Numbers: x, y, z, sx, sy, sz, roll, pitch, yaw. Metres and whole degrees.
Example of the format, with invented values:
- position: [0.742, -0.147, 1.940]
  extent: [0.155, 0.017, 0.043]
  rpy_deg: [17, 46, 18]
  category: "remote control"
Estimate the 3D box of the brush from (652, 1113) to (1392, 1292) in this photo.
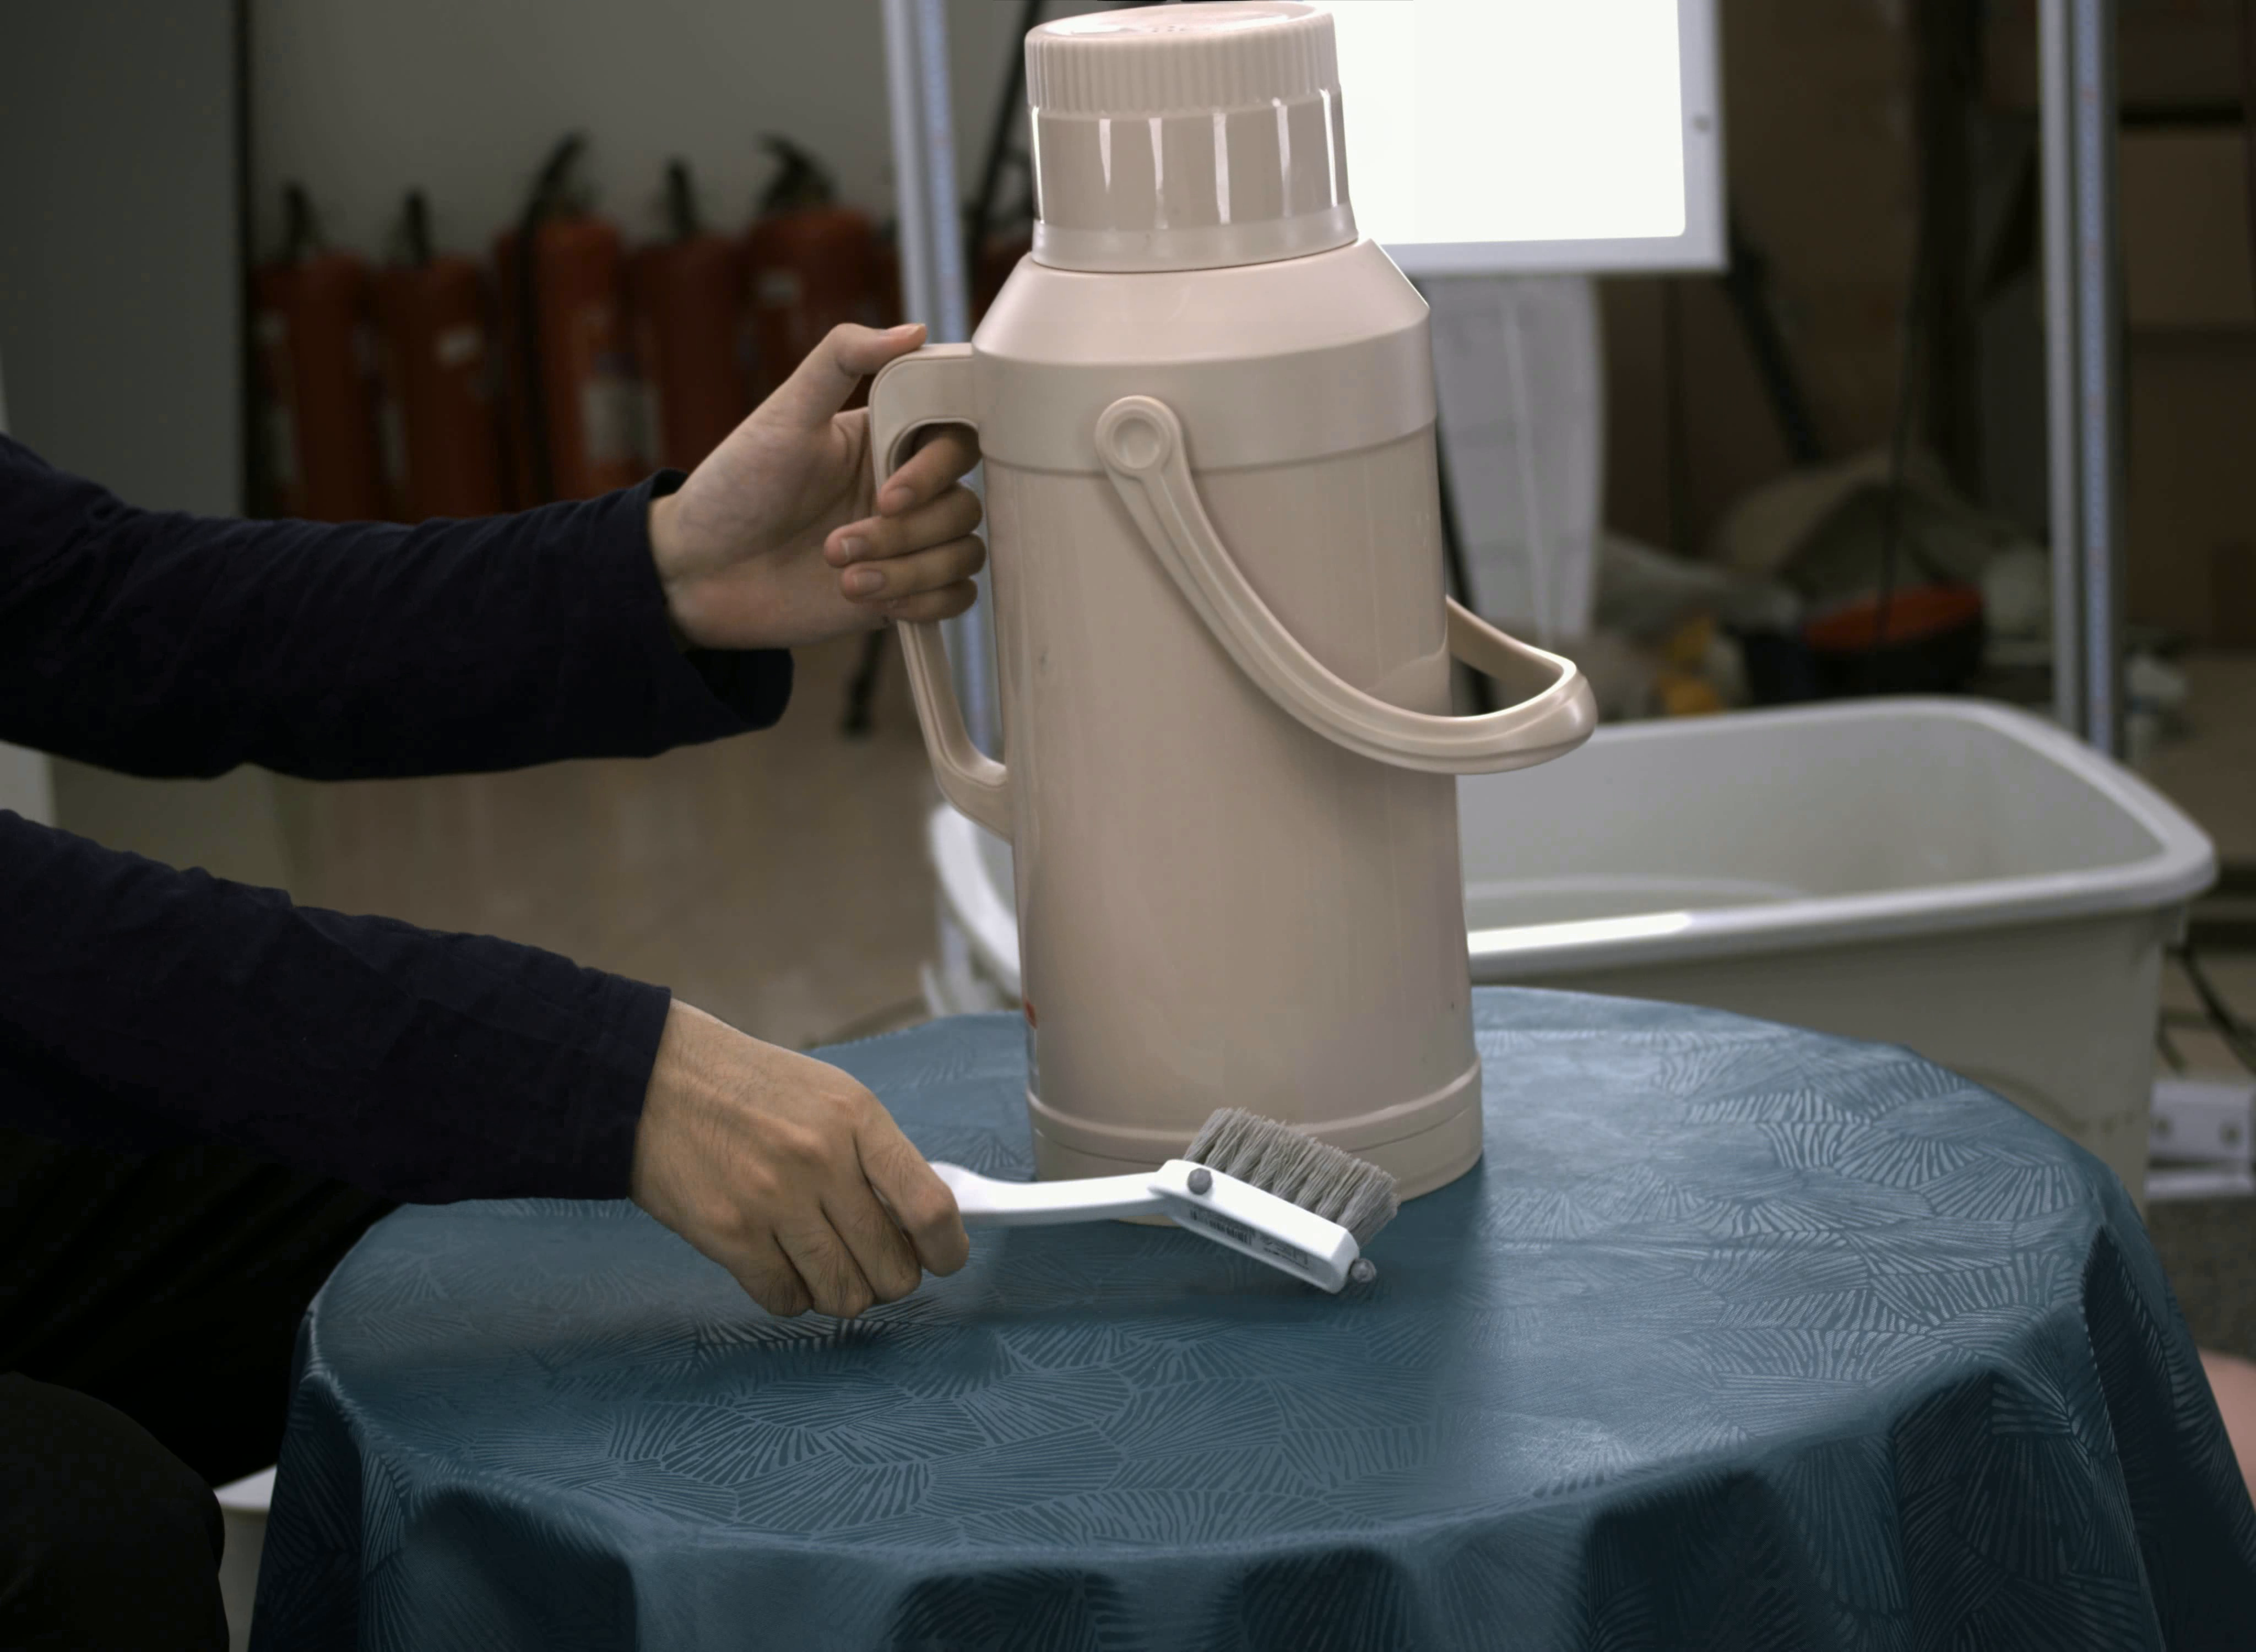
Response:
- position: [-0.035, 0.110, 1.791]
  extent: [0.245, 0.050, 0.034]
  rpy_deg: [7, -13, 14]
  category: "brush"

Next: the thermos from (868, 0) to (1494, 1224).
- position: [0.019, -0.076, 1.884]
  extent: [0.209, 0.408, 0.173]
  rpy_deg: [-1, 16, 17]
  category: "thermos"
